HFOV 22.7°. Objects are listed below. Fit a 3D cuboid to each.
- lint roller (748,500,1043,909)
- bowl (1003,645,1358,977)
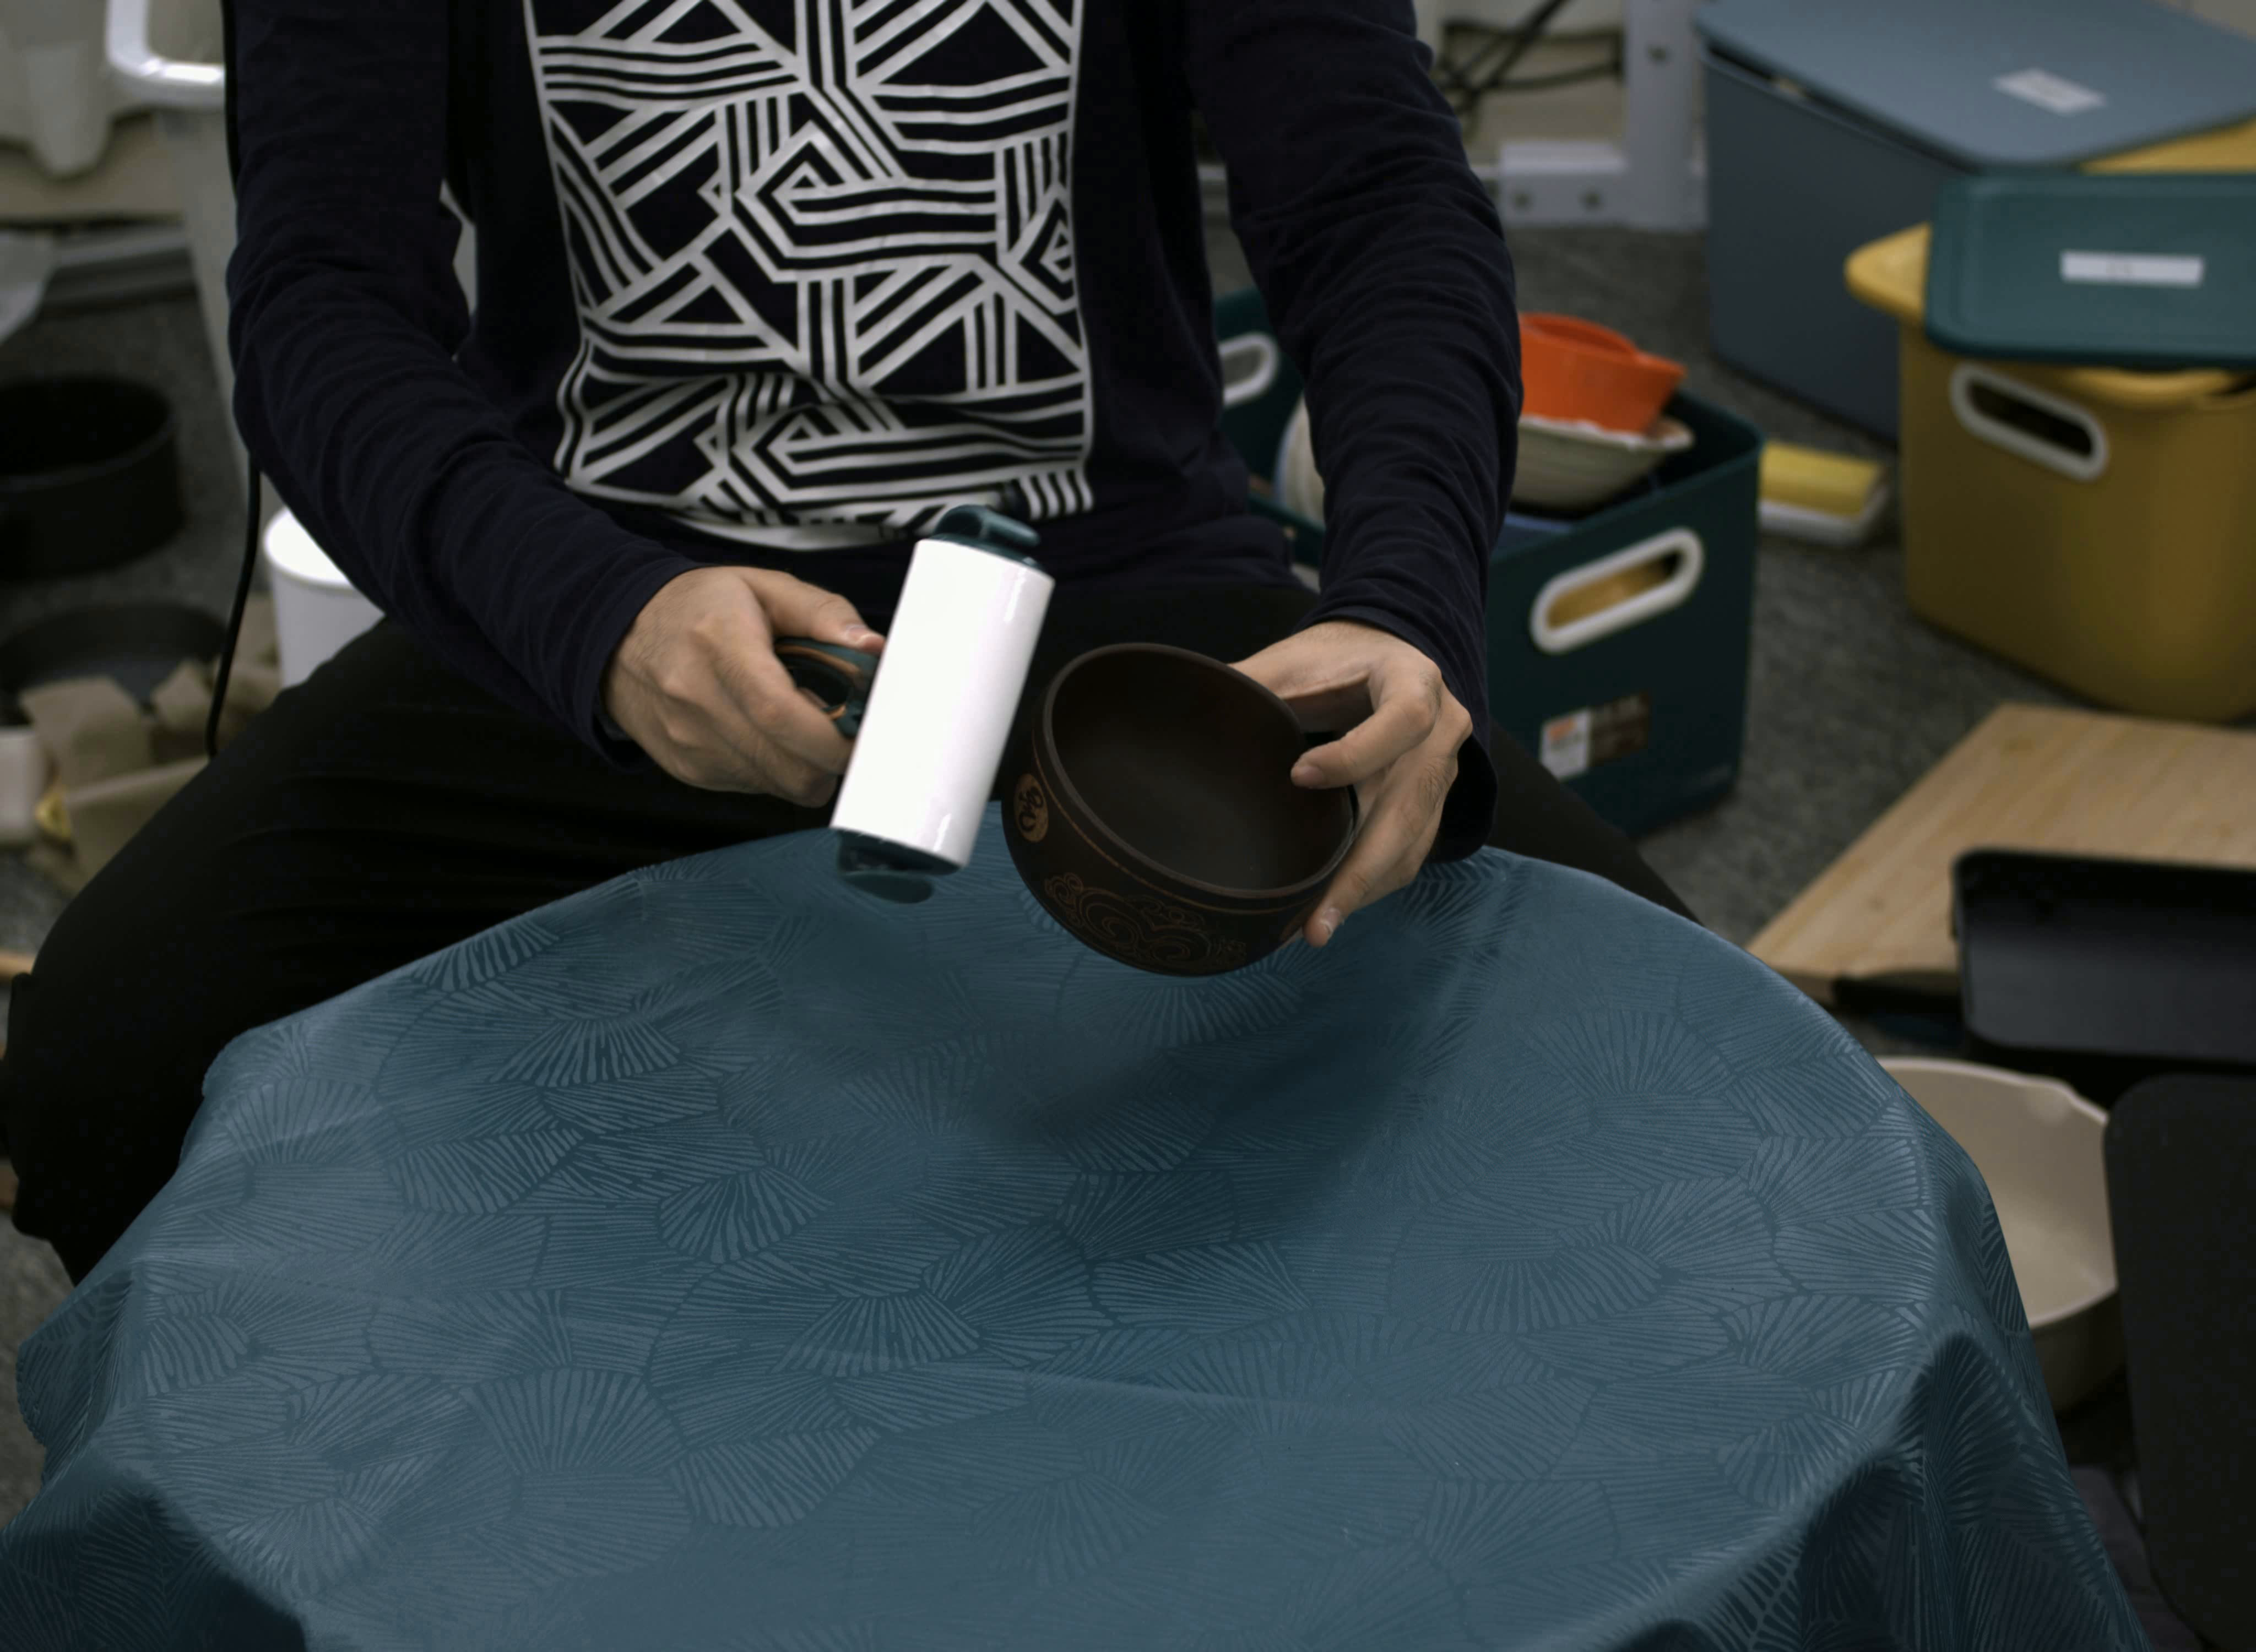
[{"bbox_3d":[-0.099,-0.044,1.897,0.048,0.135,0.179,21,-8,-32],"label":"lint roller"},{"bbox_3d":[0.012,0.004,1.880,0.117,0.069,0.120,17,38,-13],"label":"bowl"}]
